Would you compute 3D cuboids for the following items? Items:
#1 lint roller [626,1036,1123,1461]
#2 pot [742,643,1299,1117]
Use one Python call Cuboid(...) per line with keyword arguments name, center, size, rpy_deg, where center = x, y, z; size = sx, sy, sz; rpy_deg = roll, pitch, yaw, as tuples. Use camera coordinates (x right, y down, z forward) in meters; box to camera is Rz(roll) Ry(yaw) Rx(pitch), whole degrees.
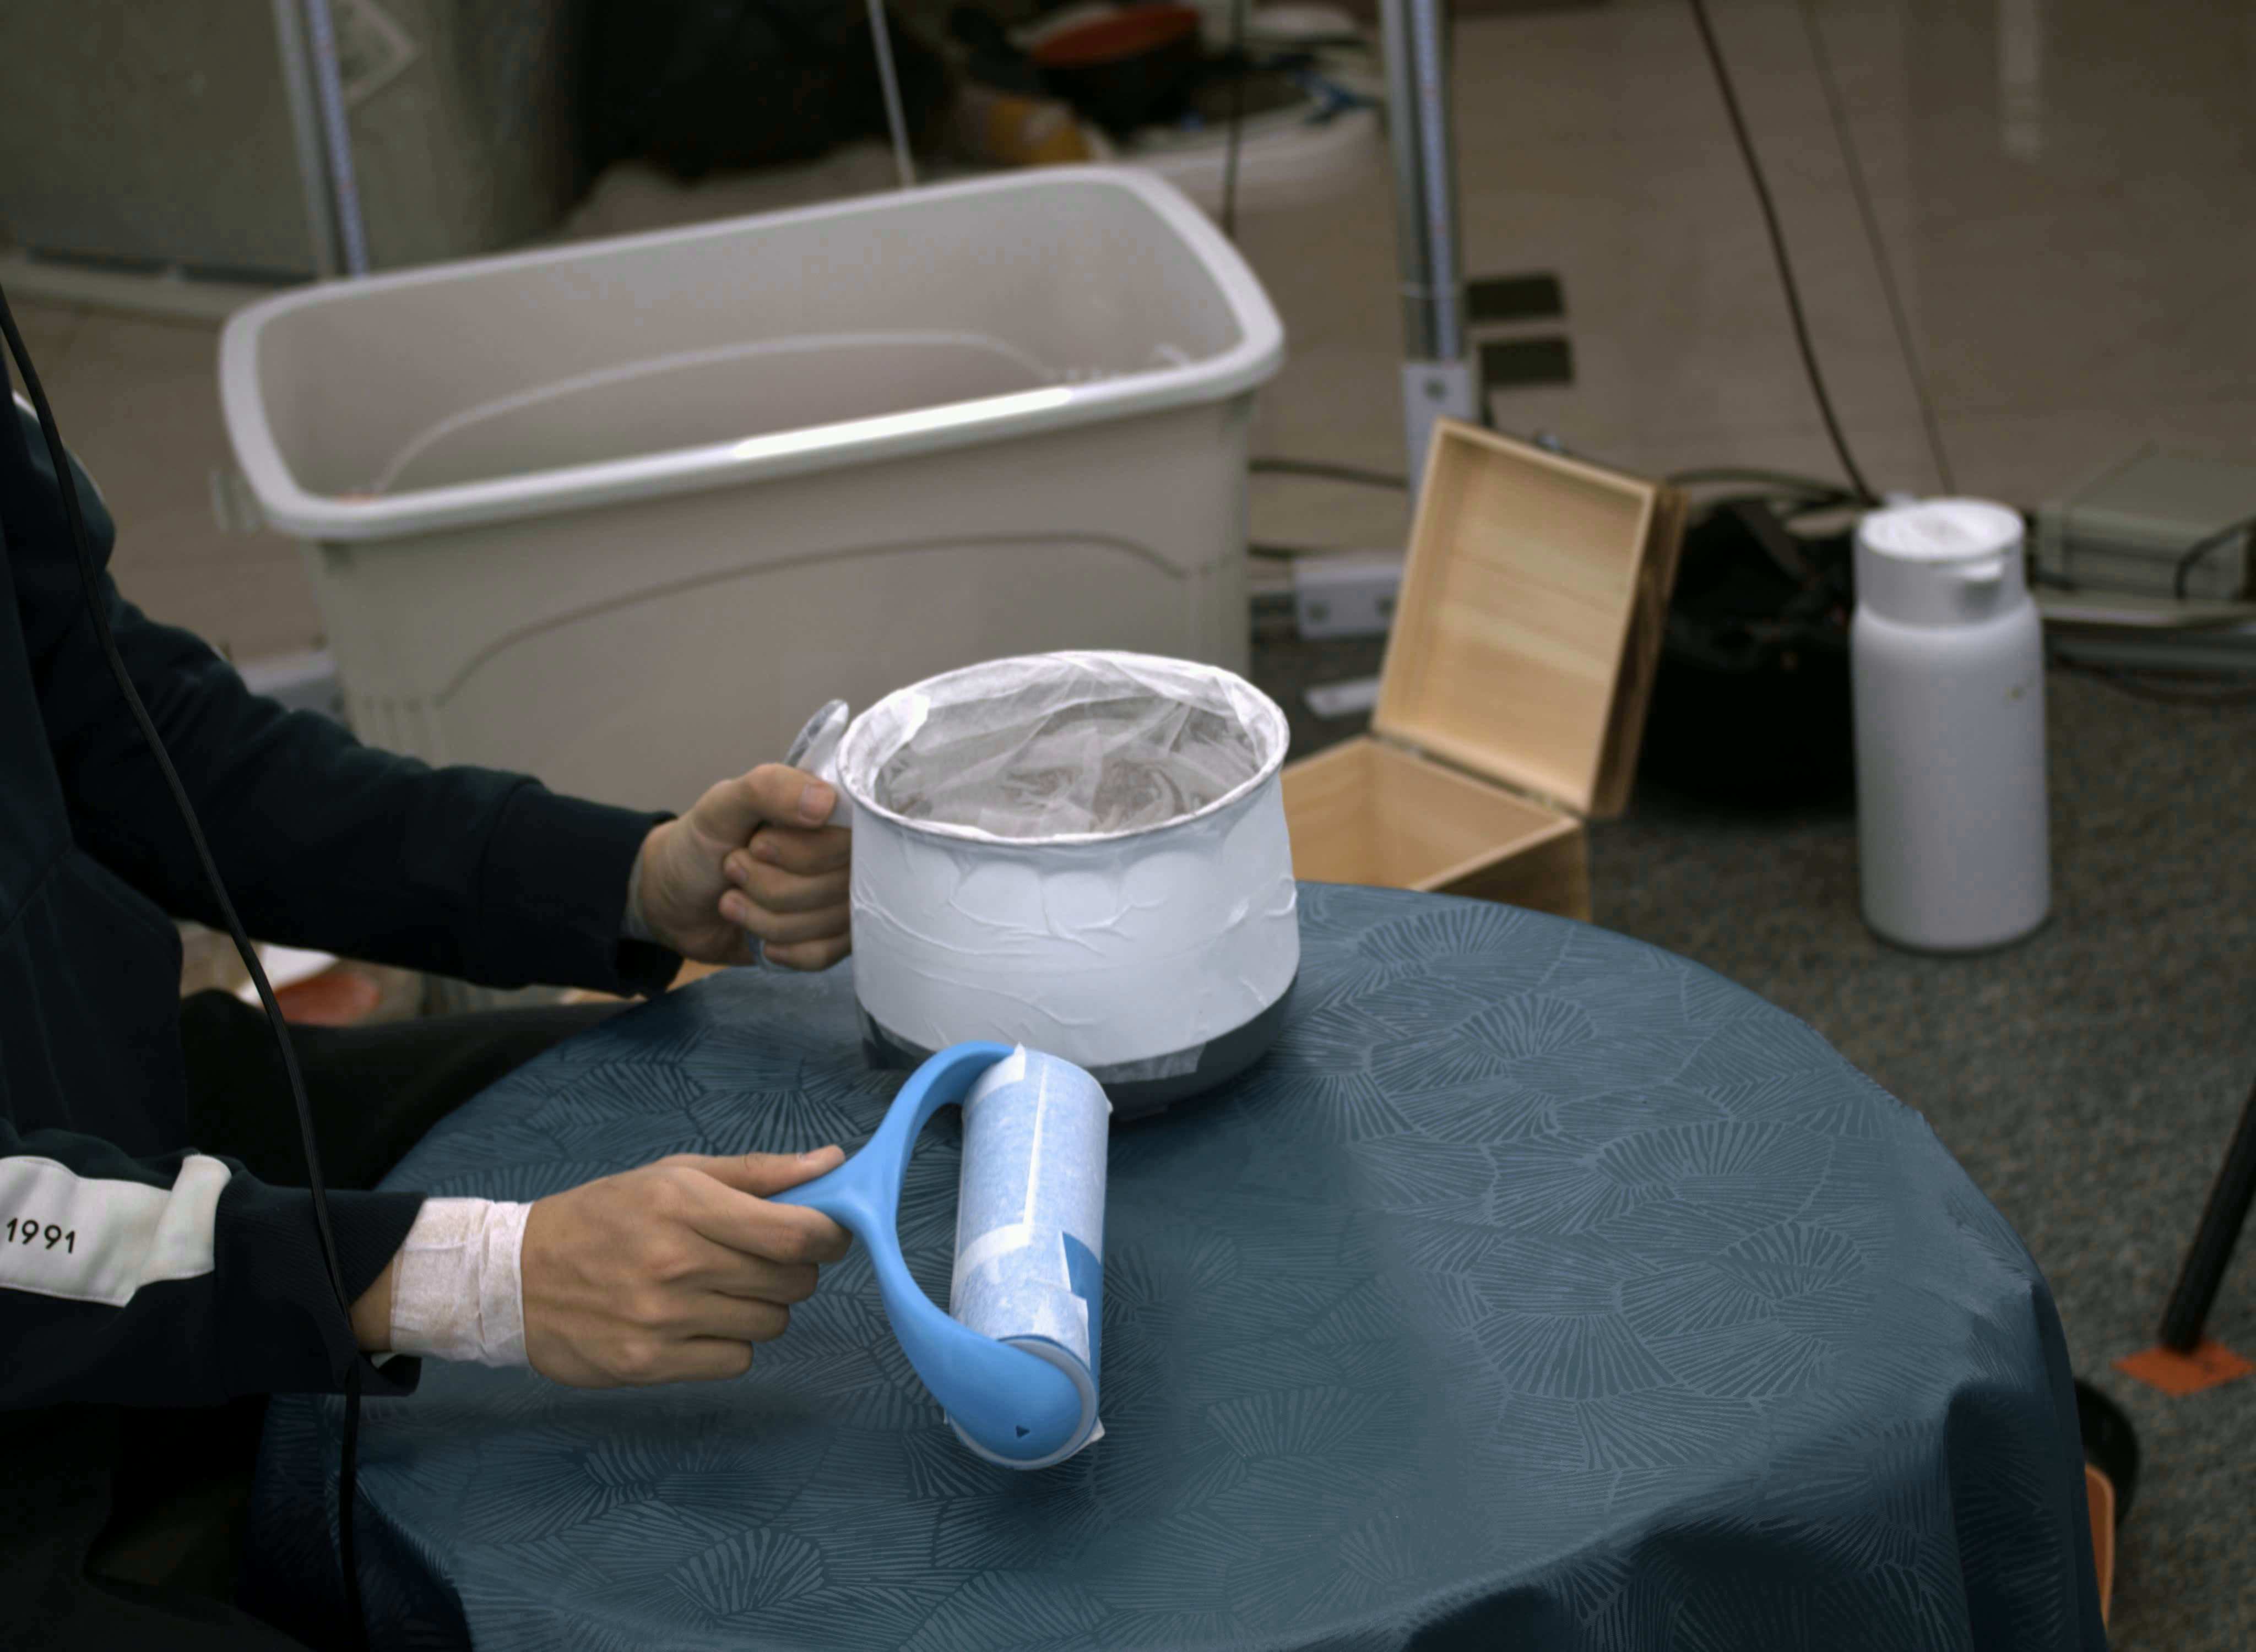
Cuboid(name="lint roller", center=(-0.090, 0.153, 2.005), size=(0.180, 0.069, 0.225), rpy_deg=(-5, 30, -2))
Cuboid(name="pot", center=(-0.047, 0.018, 2.227), size=(0.233, 0.139, 0.176), rpy_deg=(9, 28, 22))
